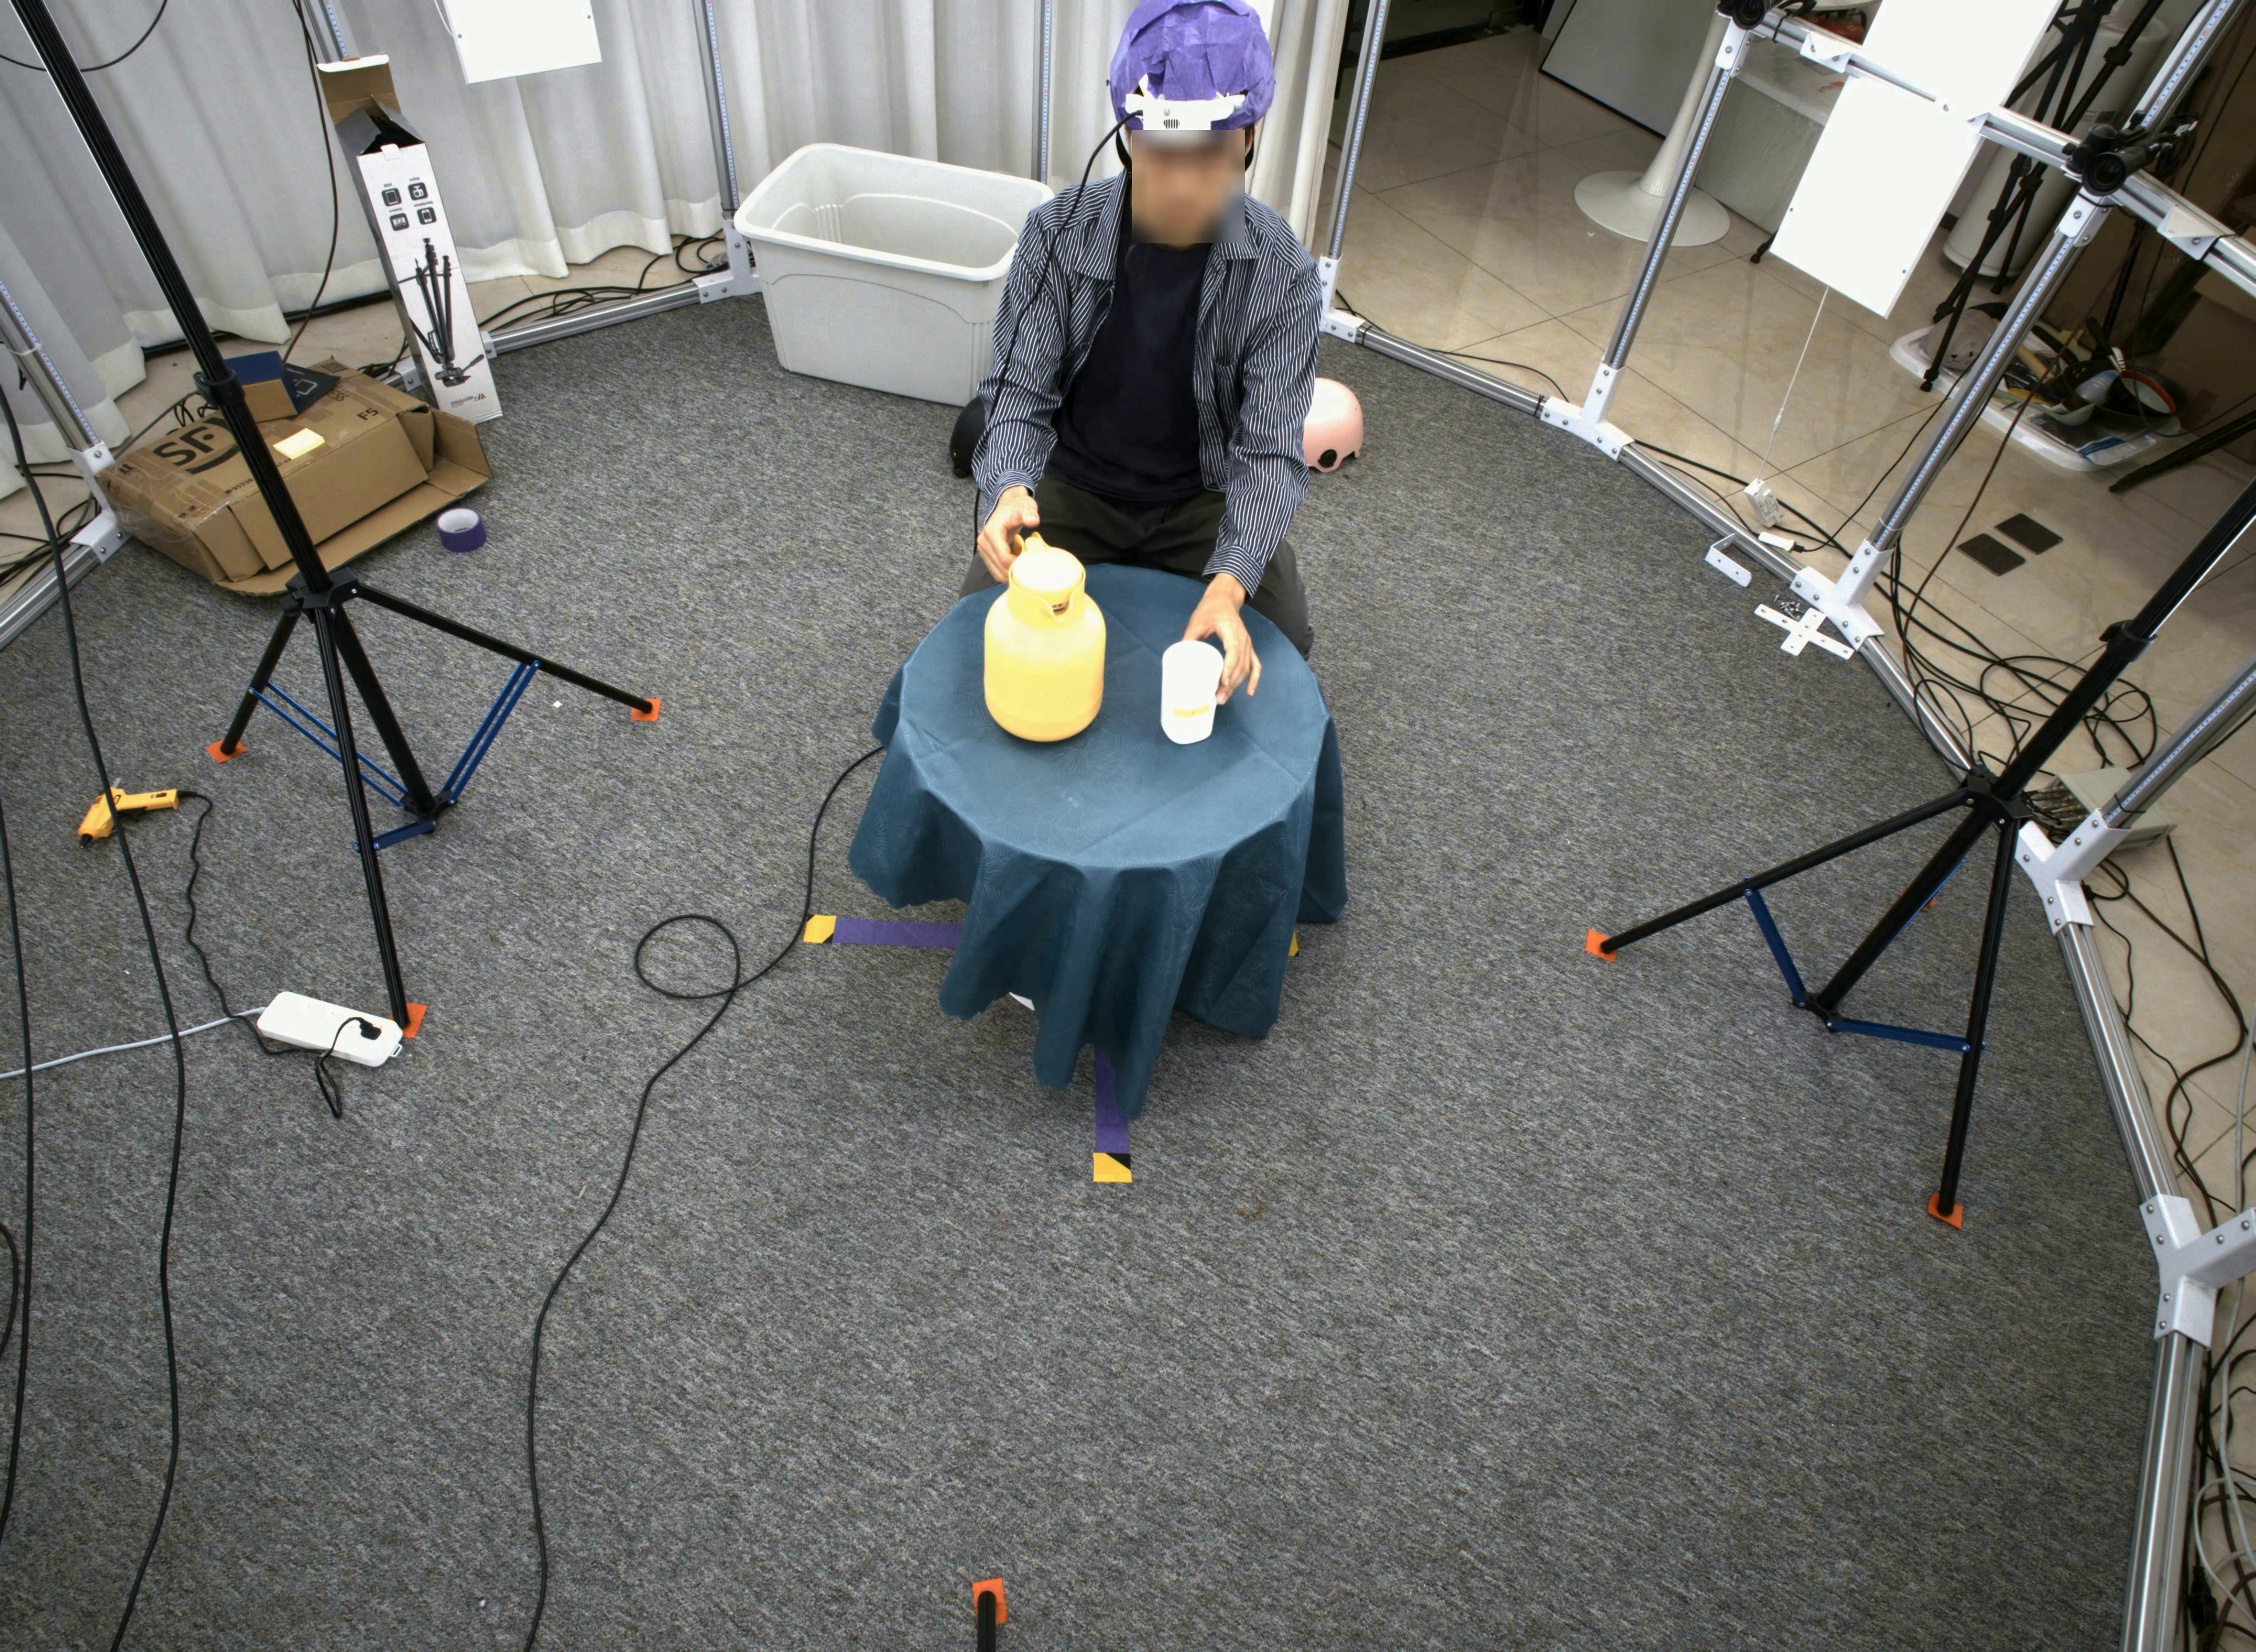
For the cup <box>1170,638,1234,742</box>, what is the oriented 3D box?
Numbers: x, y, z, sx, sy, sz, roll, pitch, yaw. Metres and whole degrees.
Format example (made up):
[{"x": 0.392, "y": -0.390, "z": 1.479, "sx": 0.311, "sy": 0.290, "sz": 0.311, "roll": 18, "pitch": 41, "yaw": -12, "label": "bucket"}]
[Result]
[{"x": 0.097, "y": -0.182, "z": 1.741, "sx": 0.081, "sy": 0.122, "sz": 0.084, "roll": 2, "pitch": 48, "yaw": -2, "label": "cup"}]

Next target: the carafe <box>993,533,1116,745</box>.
[{"x": -0.102, "y": -0.255, "z": 1.703, "sx": 0.163, "sy": 0.254, "sz": 0.207, "roll": -13, "pitch": 52, "yaw": -17, "label": "carafe"}]
